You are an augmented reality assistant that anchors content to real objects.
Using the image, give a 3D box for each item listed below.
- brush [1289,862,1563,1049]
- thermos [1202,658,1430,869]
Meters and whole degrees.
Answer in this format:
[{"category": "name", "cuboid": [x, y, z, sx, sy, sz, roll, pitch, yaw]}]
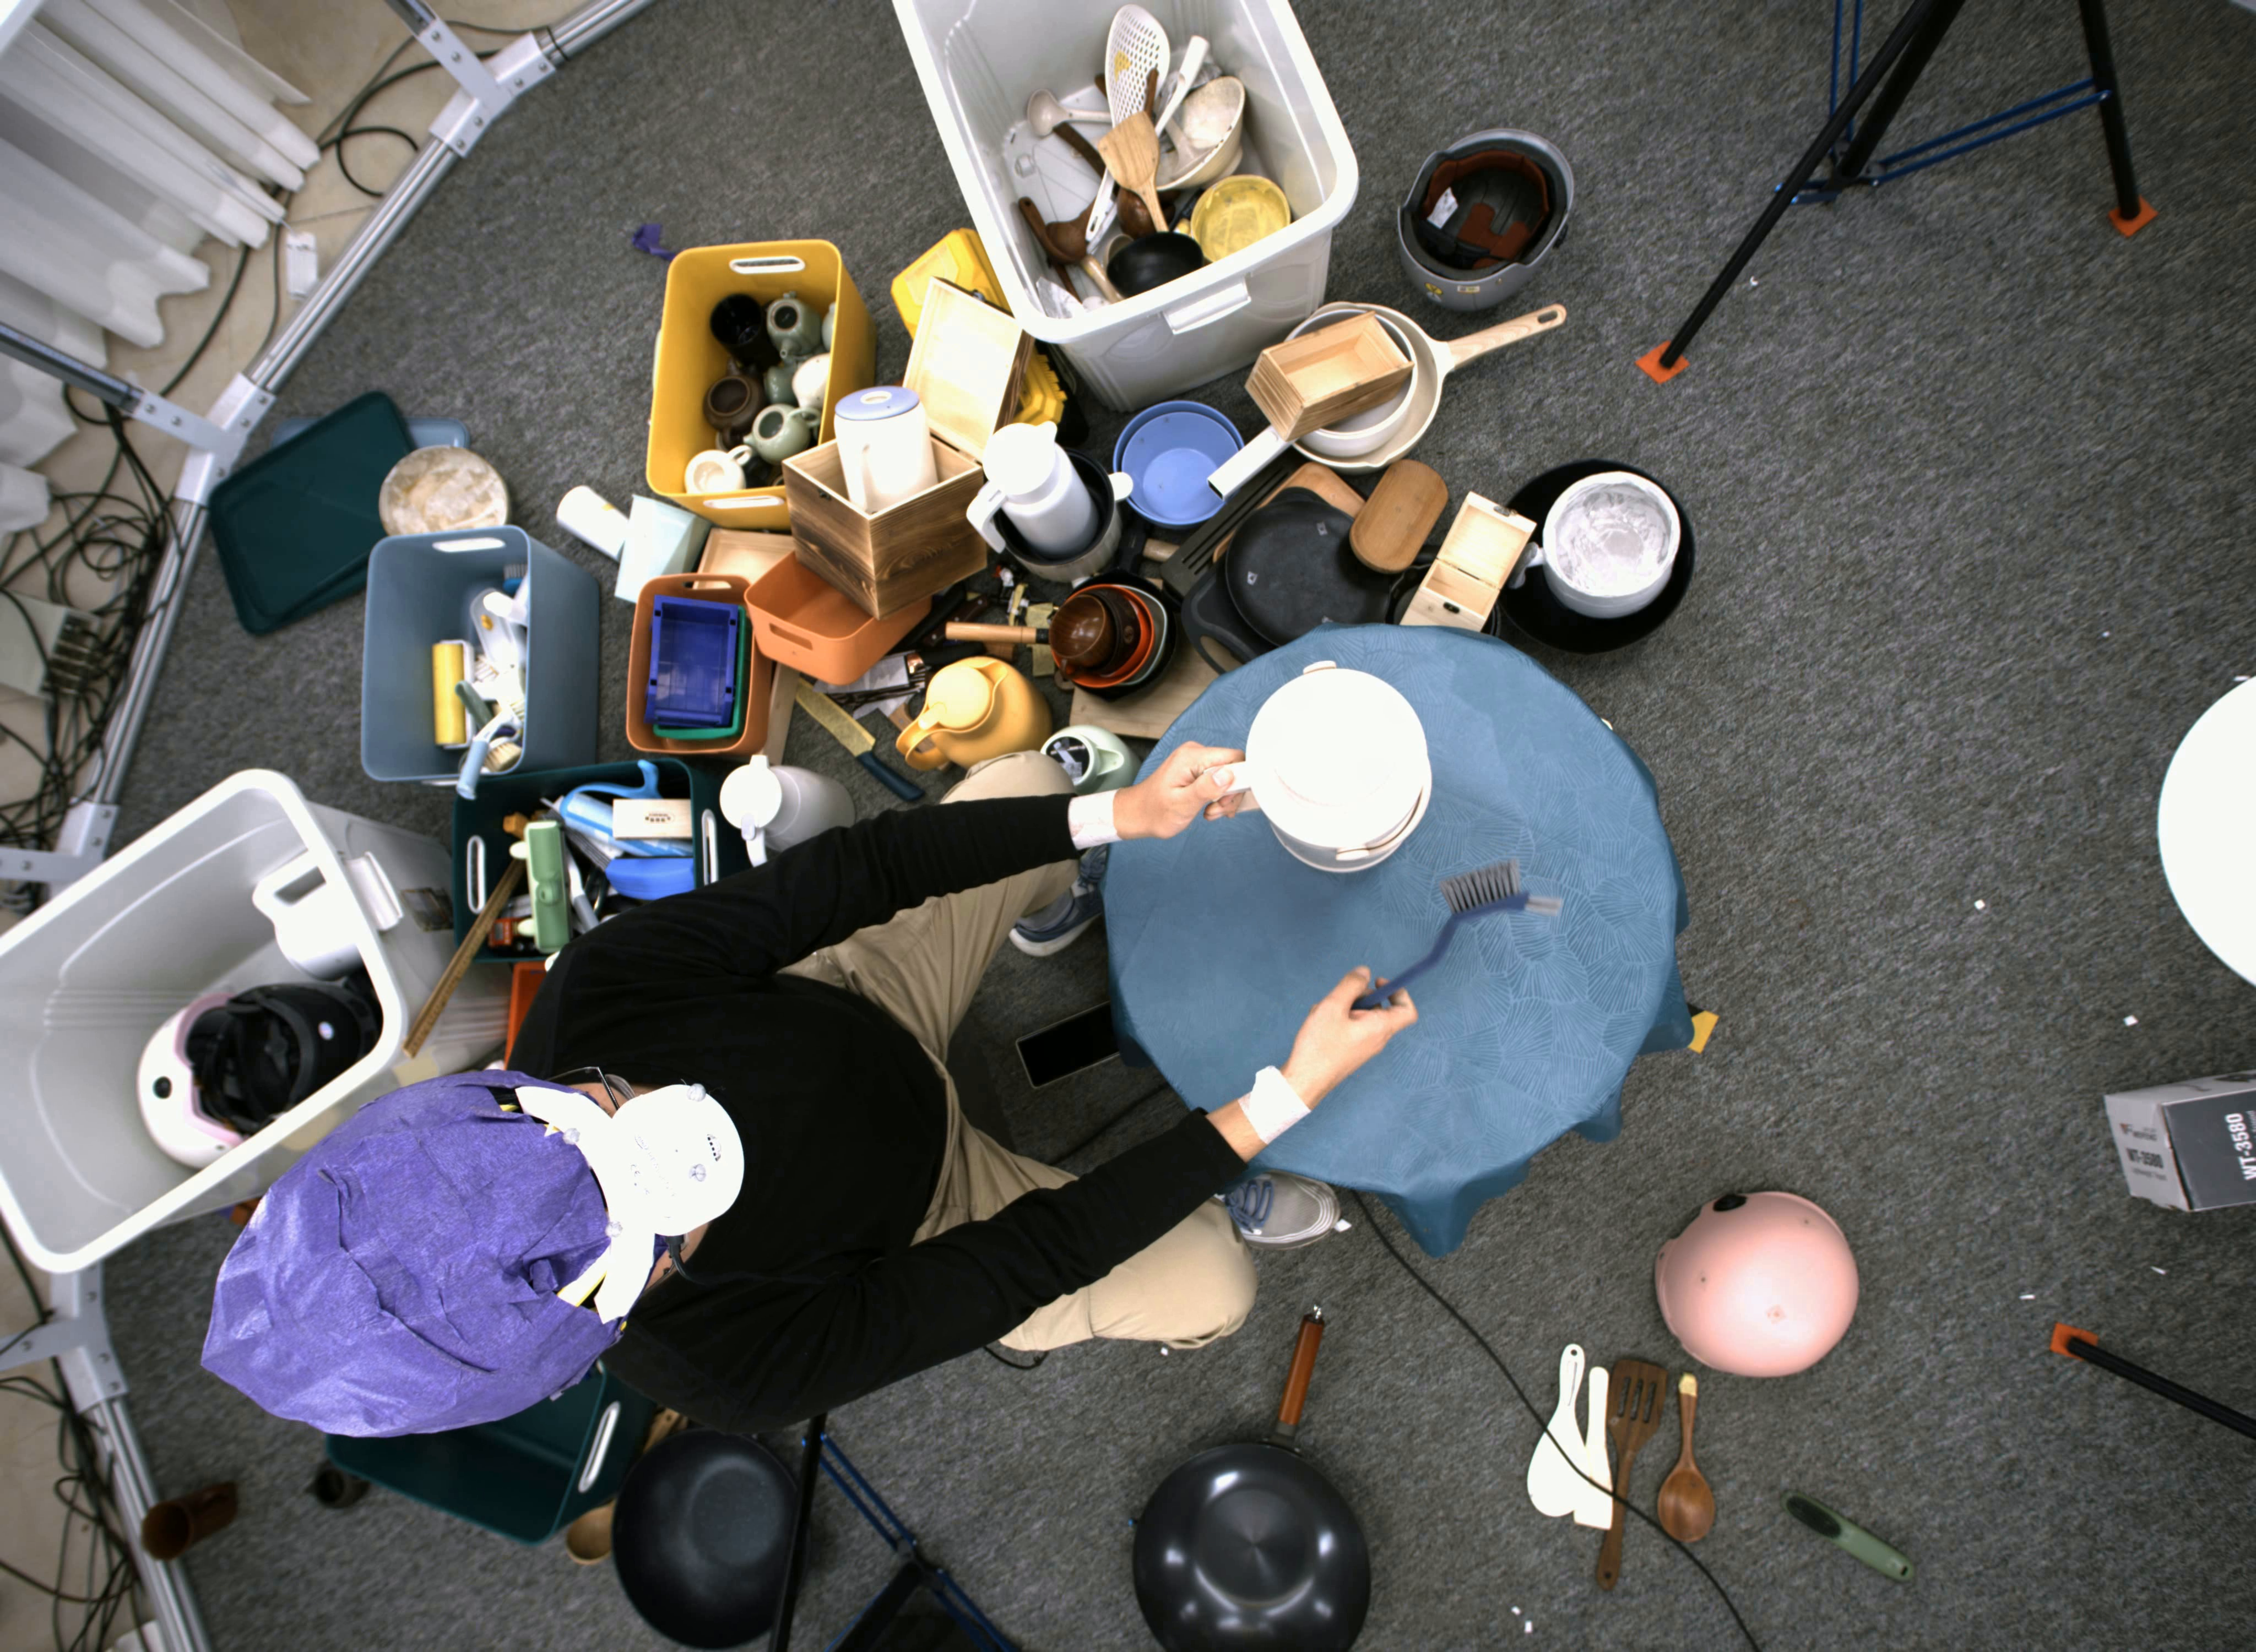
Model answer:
[{"category": "brush", "cuboid": [0.270, 0.134, 1.277, 0.275, 0.033, 0.095, -44, 82, 7]}, {"category": "thermos", "cuboid": [0.179, -0.051, 1.282, 0.208, 0.406, 0.174, -11, 84, 8]}]
